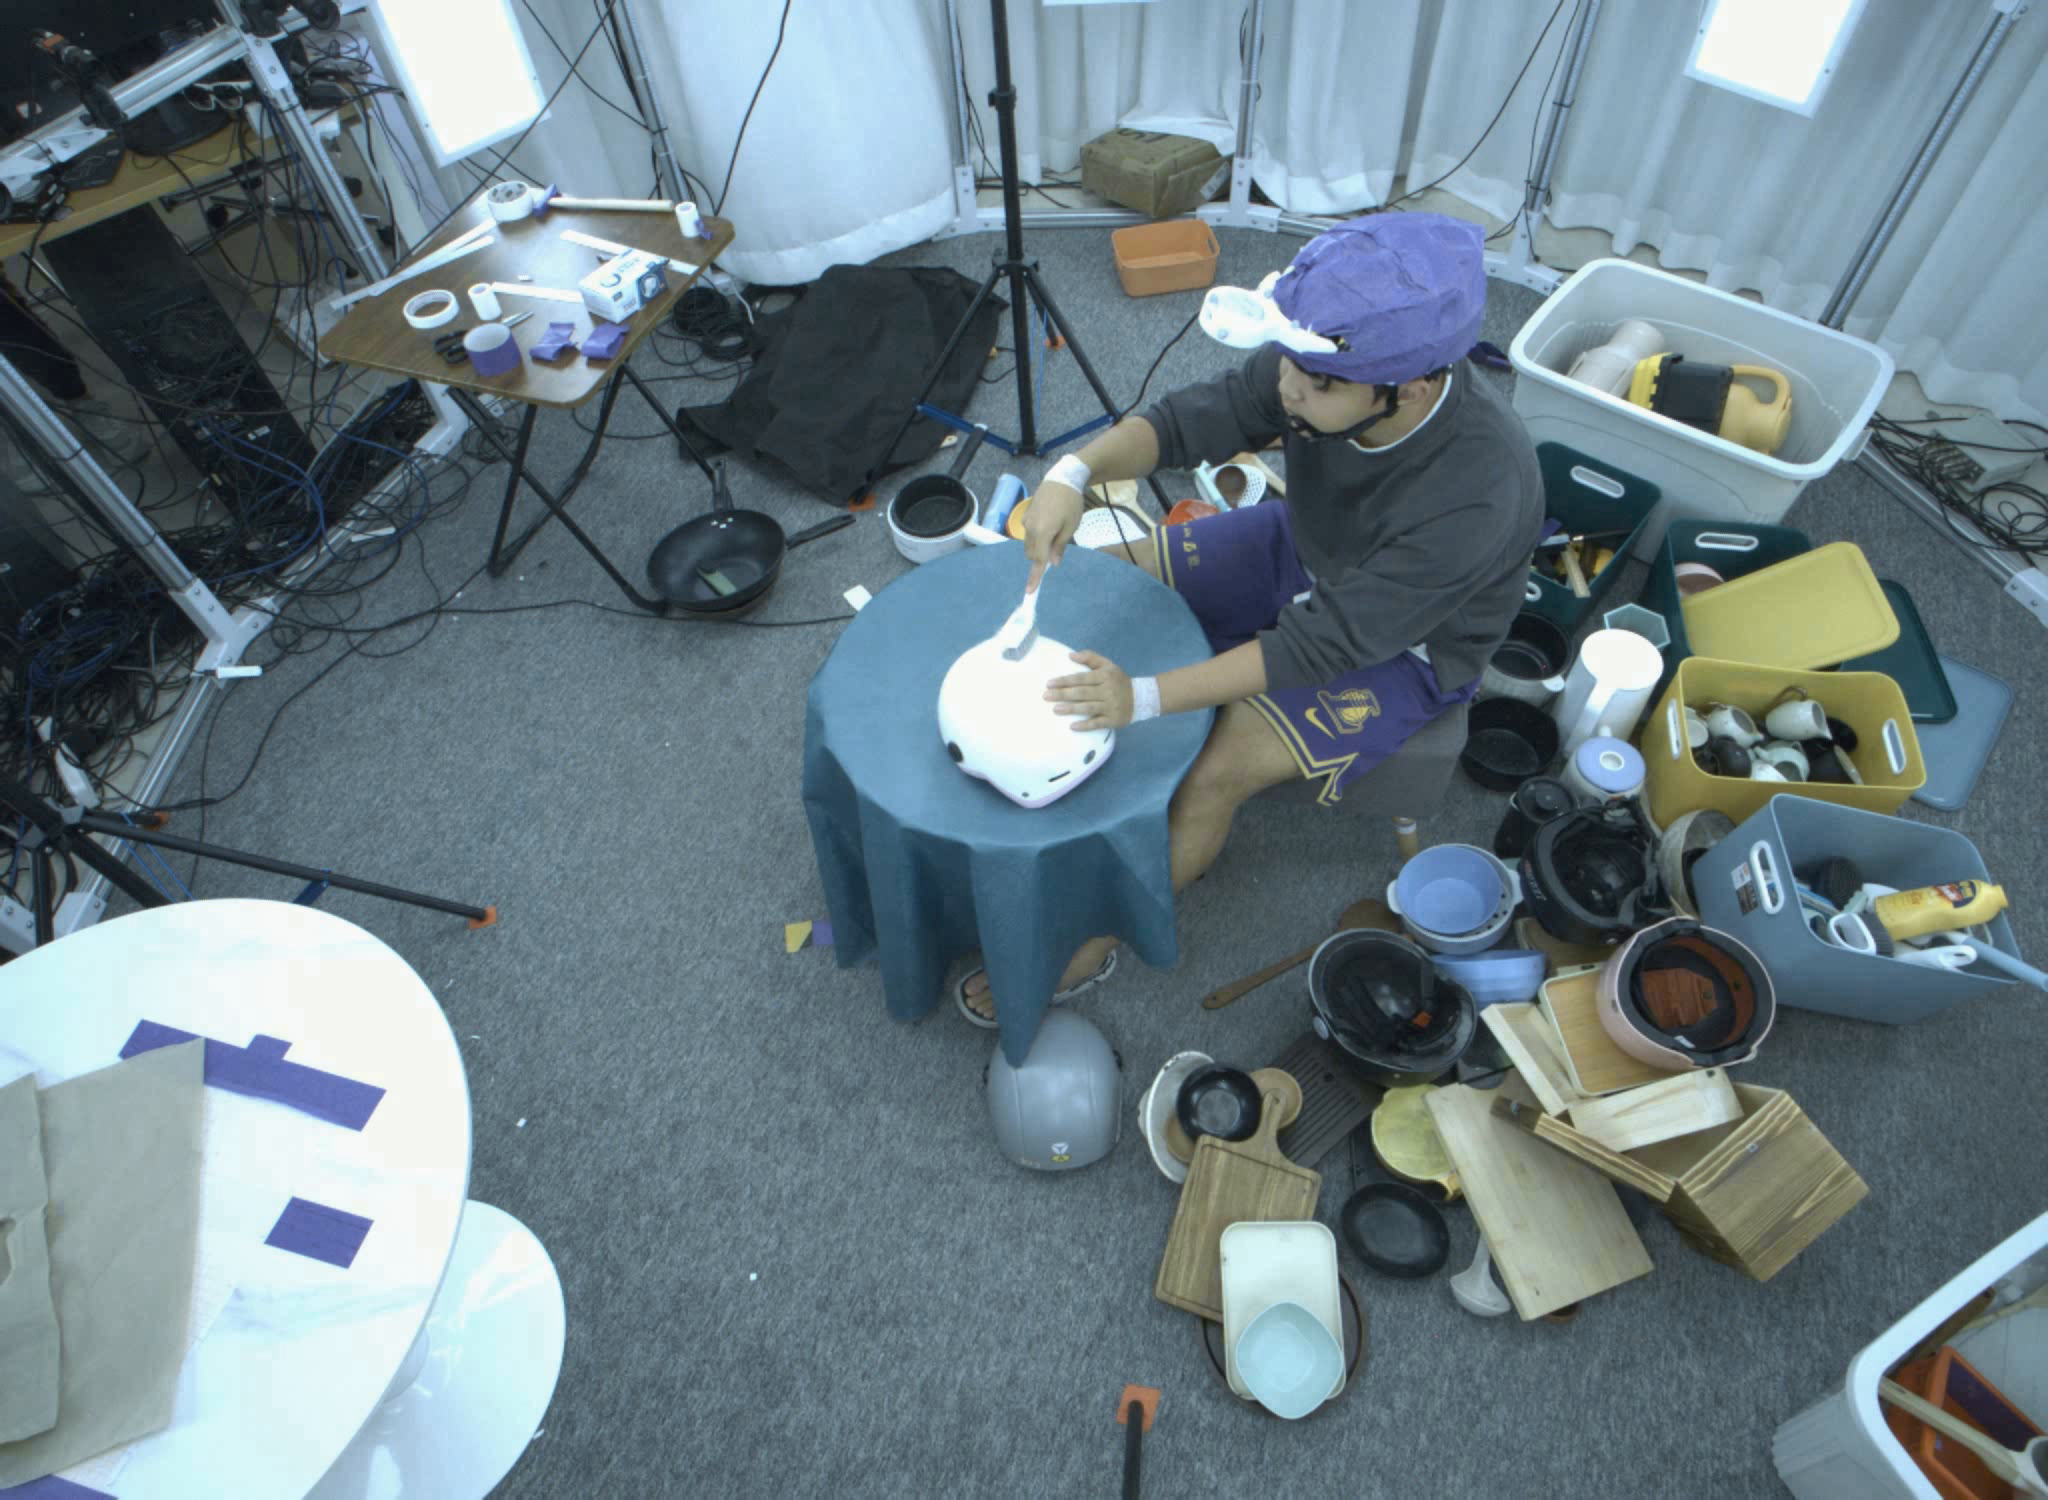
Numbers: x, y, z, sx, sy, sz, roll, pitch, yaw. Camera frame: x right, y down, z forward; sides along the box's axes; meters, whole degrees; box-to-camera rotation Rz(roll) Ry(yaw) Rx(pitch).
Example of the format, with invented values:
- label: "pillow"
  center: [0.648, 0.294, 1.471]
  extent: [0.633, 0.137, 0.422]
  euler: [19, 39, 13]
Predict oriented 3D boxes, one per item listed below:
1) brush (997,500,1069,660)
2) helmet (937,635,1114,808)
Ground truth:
- label: "brush"
  center: [0.021, -0.236, 1.704]
  extent: [0.034, 0.051, 0.243]
  euler: [11, 71, 31]
- label: "helmet"
  center: [-0.004, -0.067, 1.737]
  extent: [0.239, 0.169, 0.264]
  euler: [-39, 61, -22]
